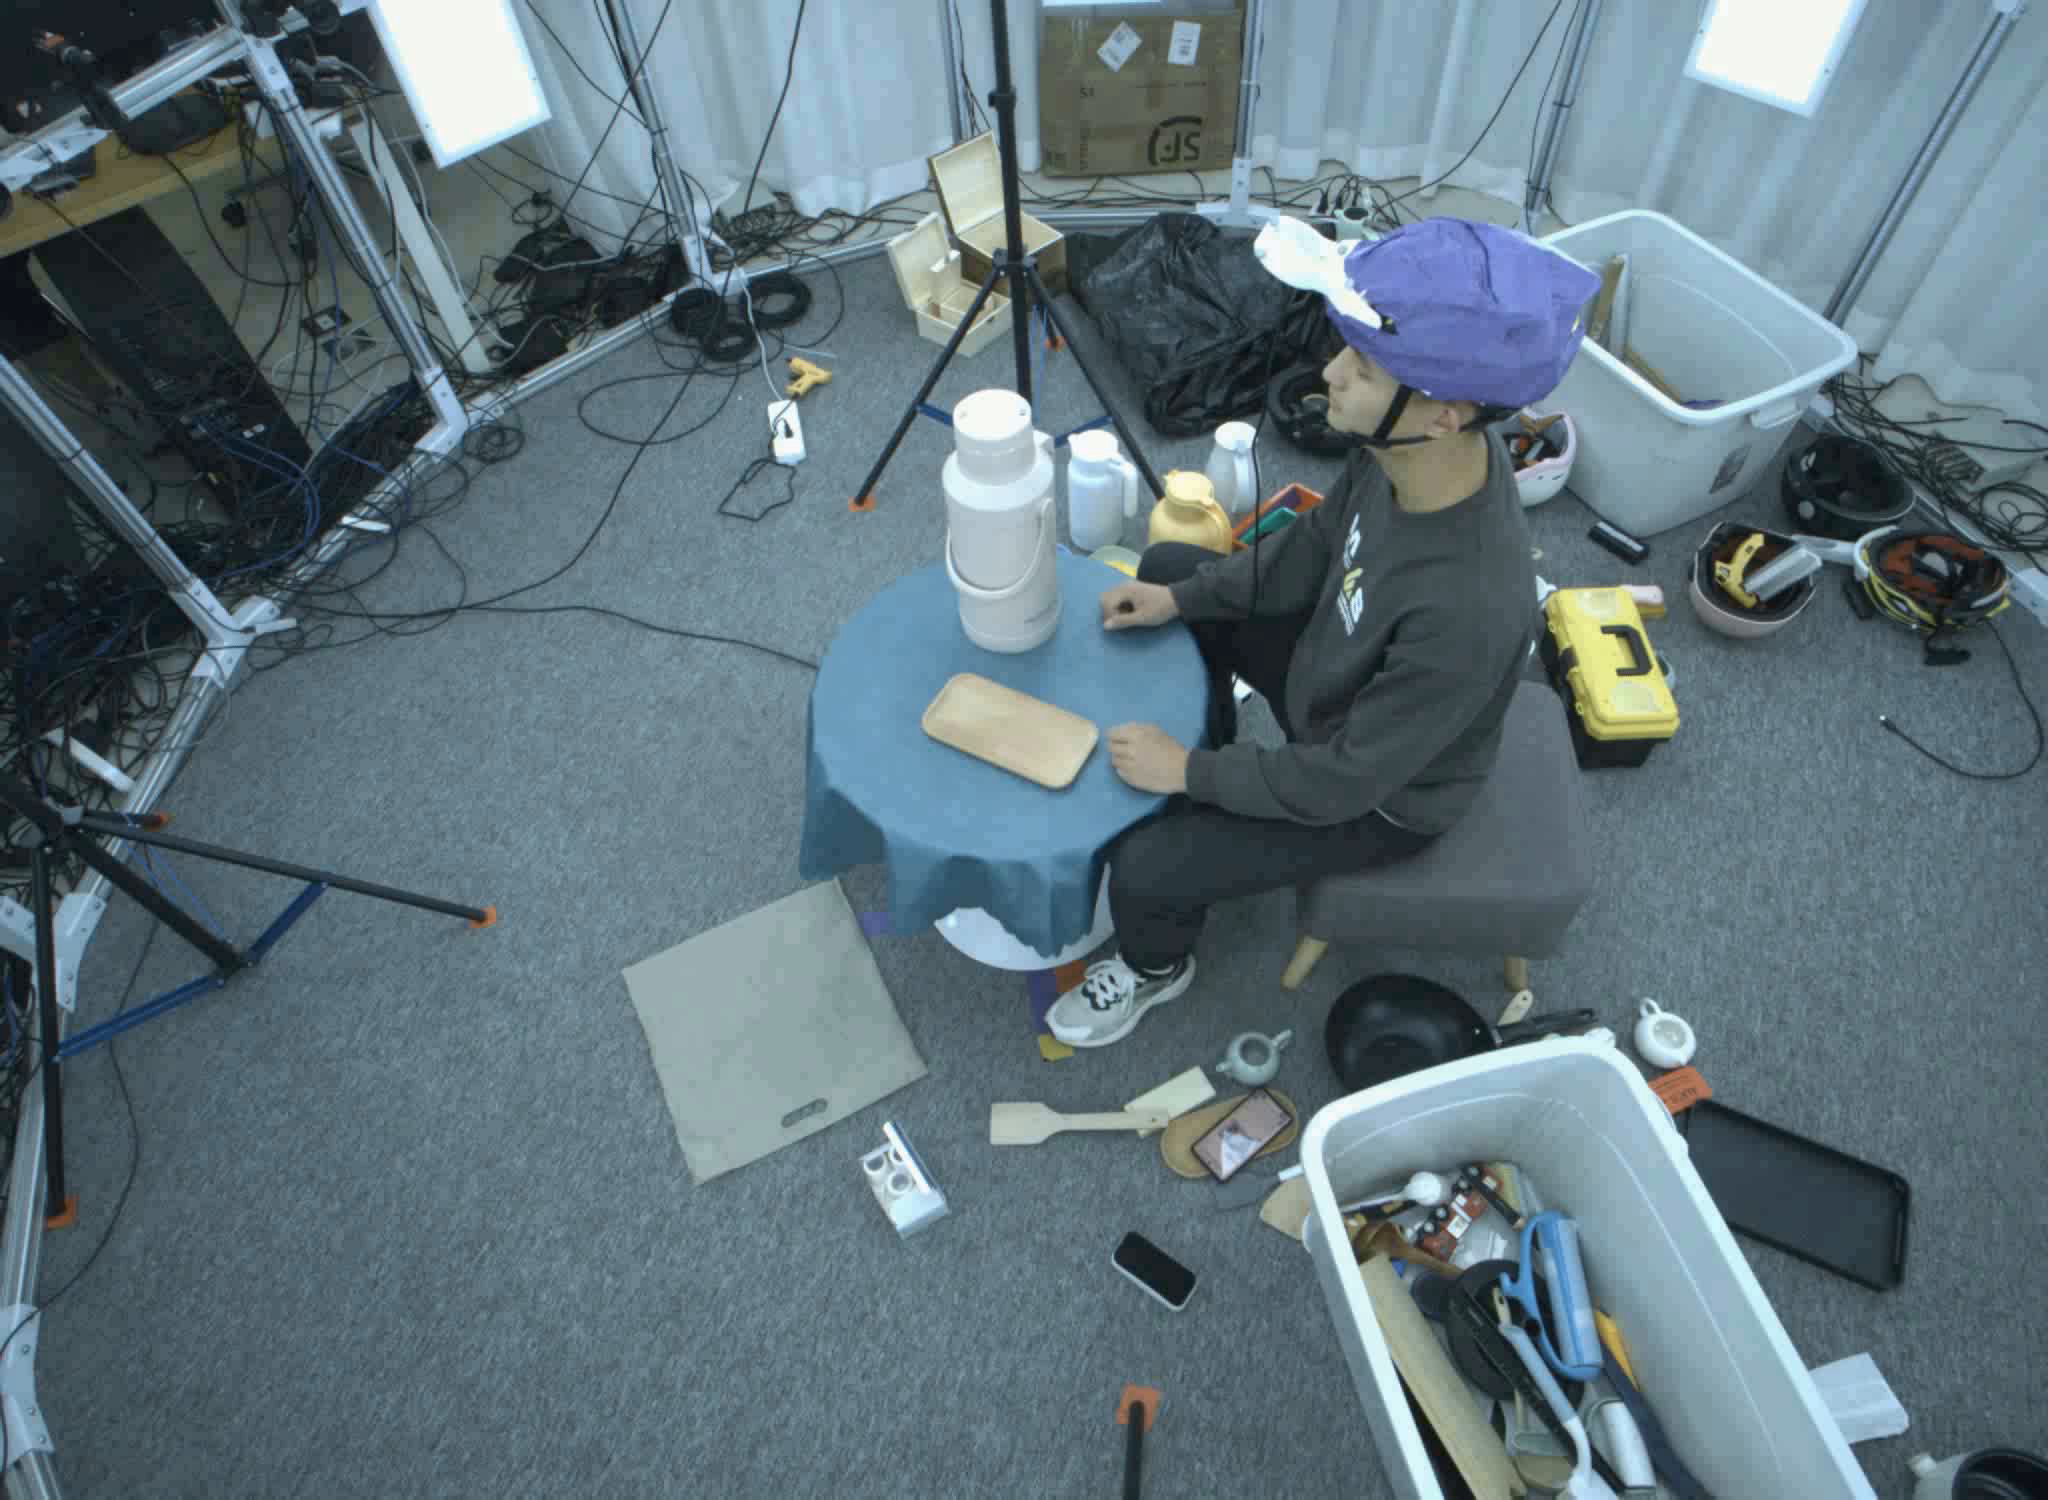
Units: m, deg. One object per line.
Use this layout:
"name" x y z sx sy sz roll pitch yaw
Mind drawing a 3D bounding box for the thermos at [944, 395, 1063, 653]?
"thermos" -0.020 -0.337 1.781 0.172 0.411 0.208 28 61 23

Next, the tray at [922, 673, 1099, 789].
"tray" -0.020 -0.029 1.797 0.247 0.023 0.131 24 61 17
